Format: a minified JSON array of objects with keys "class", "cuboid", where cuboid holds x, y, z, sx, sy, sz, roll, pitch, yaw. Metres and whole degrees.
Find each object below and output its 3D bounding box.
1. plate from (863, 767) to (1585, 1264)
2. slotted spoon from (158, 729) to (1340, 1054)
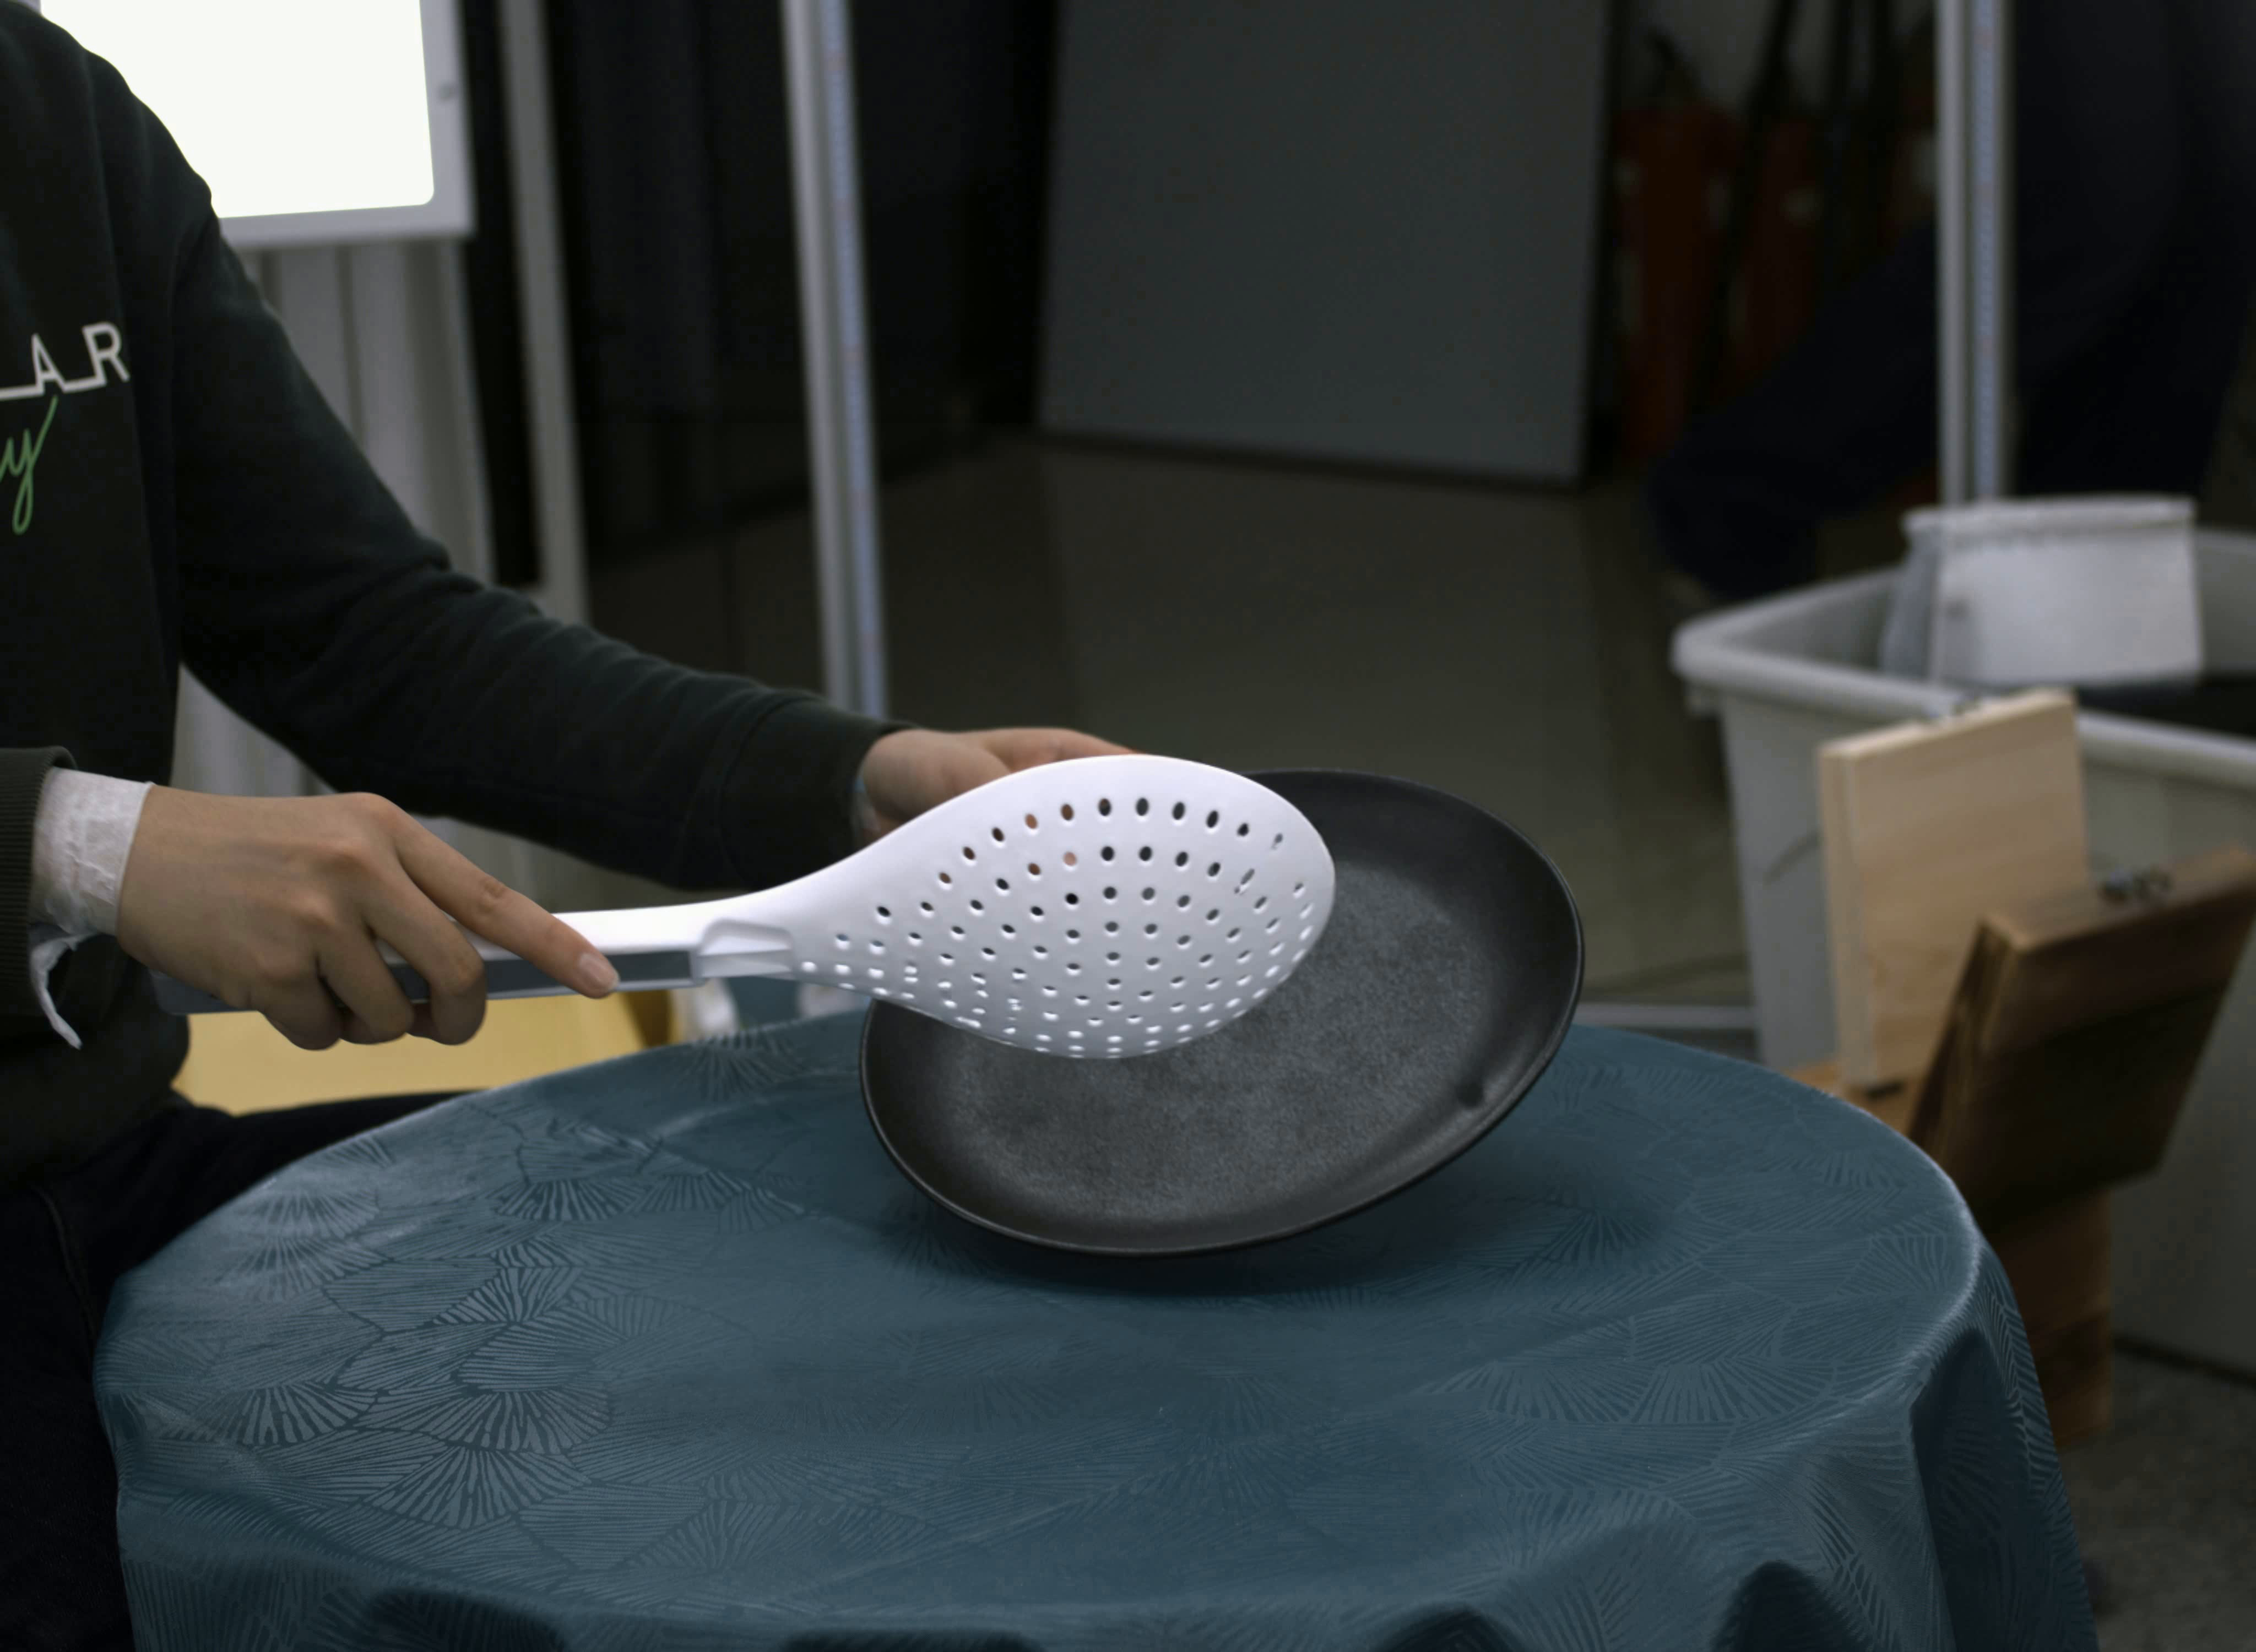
[{"class":"plate","cuboid":[0.032,0.065,1.761,0.242,0.023,0.246,-11,37,7]},{"class":"slotted spoon","cuboid":[-0.110,0.032,1.585,0.346,0.136,0.046,-1,49,3]}]
